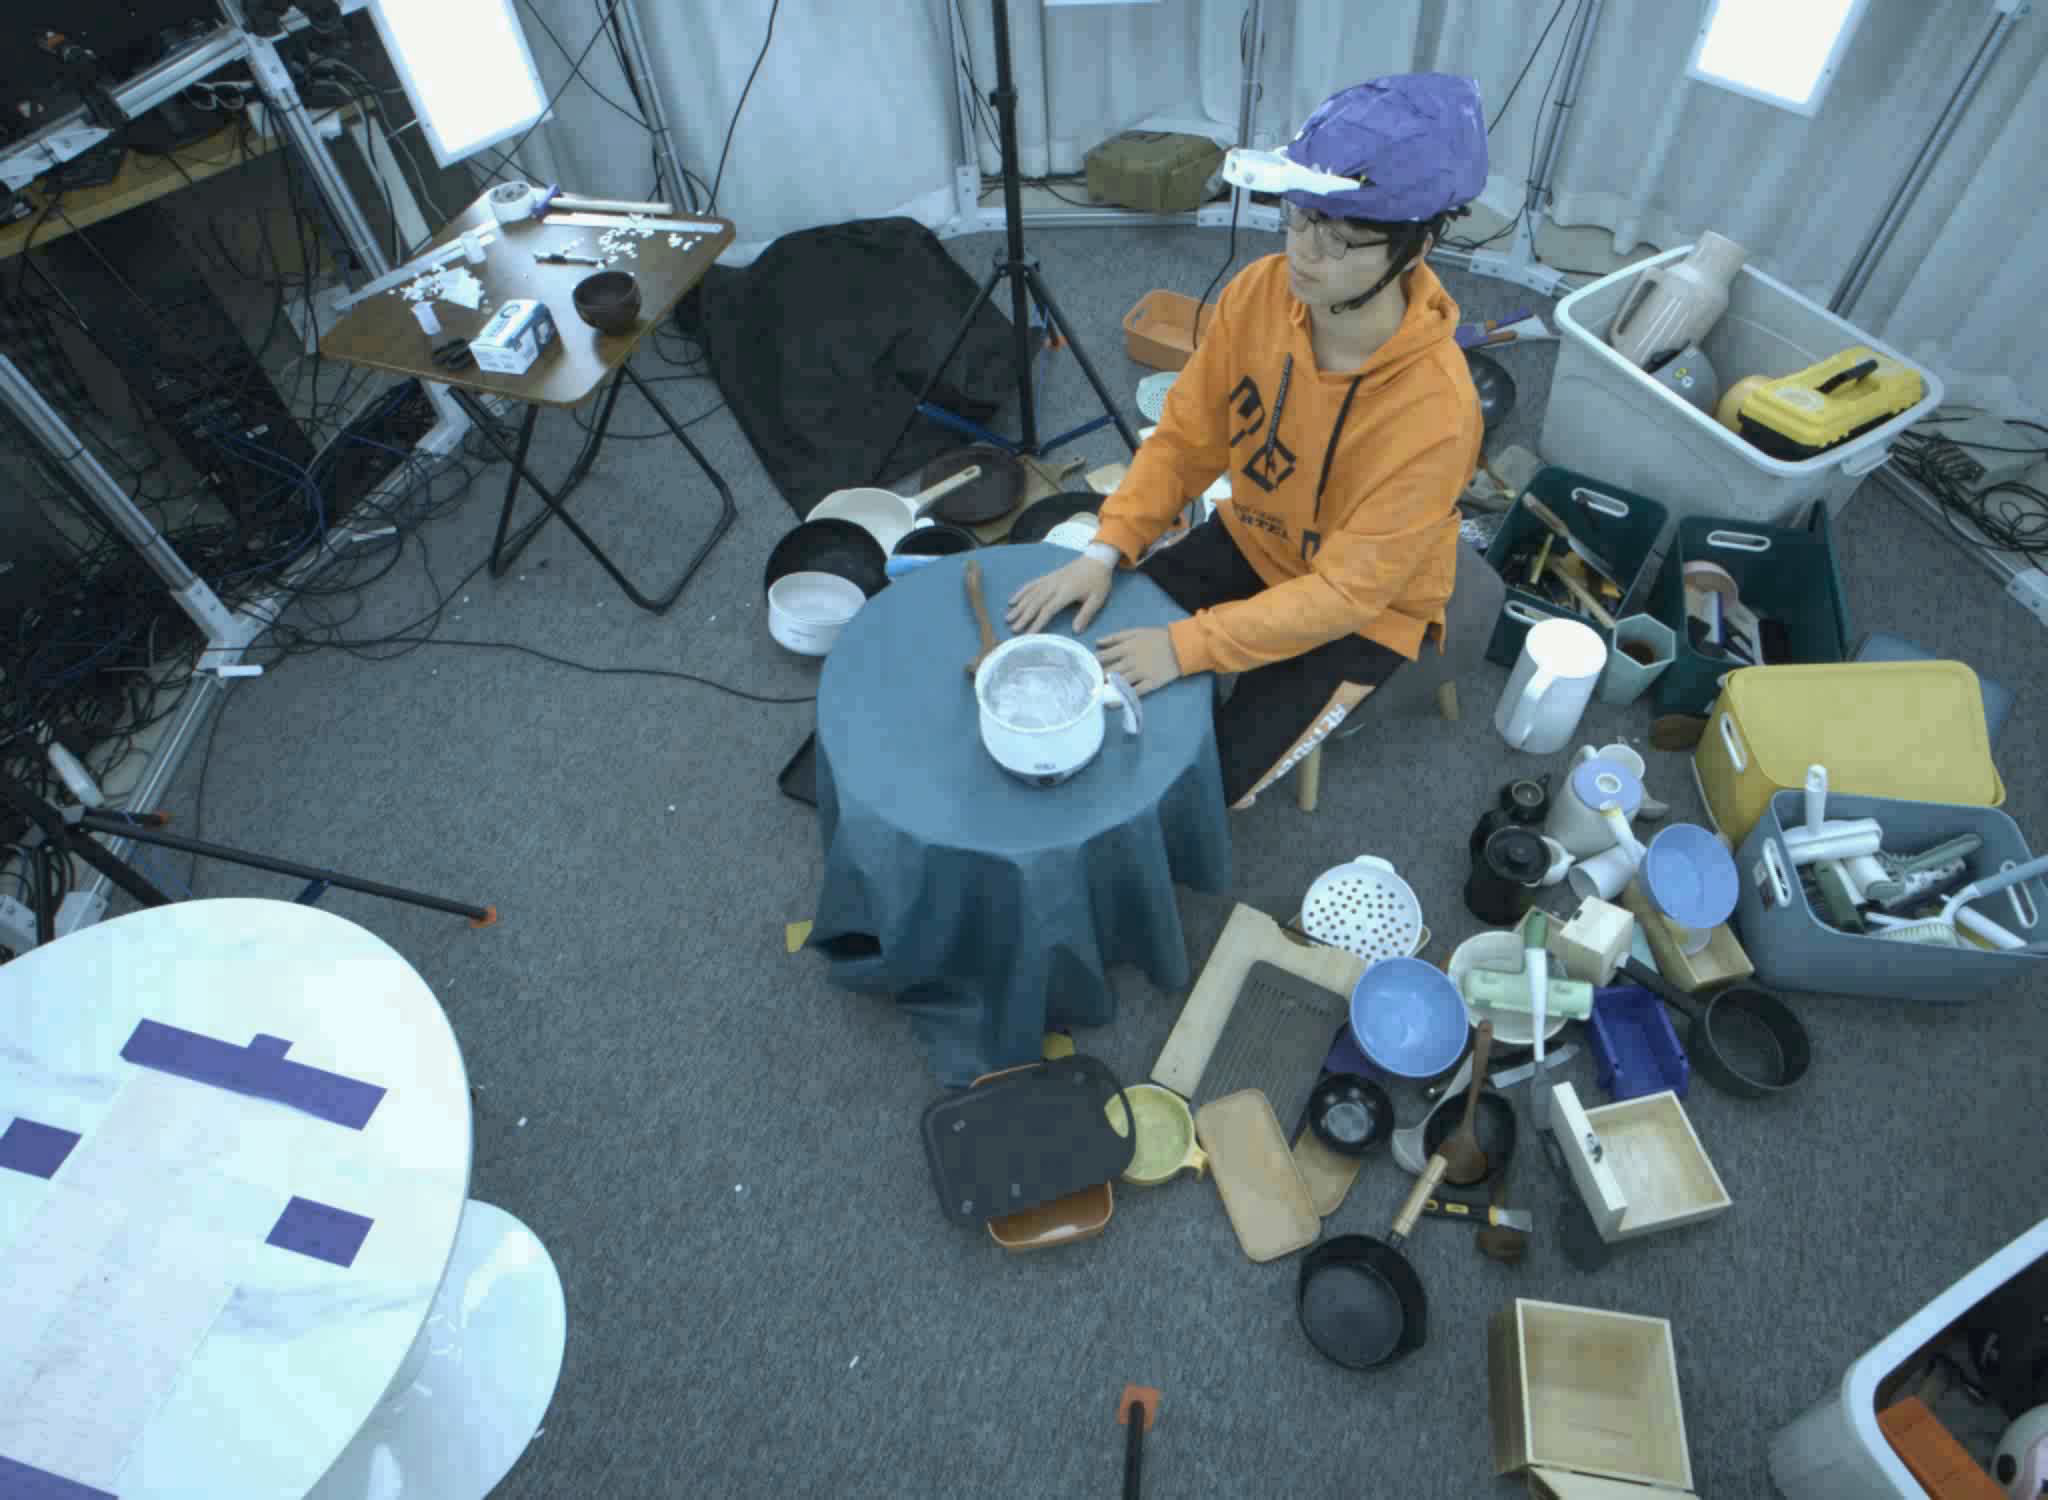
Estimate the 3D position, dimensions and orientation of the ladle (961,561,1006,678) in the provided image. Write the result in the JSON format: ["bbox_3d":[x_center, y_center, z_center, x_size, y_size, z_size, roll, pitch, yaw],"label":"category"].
[{"bbox_3d":[-0.075,-0.214,1.904,0.076,0.066,0.256,-24,54,17],"label":"ladle"}]

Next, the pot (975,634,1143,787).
[{"bbox_3d":[0.052,-0.058,1.742,0.234,0.138,0.176,-5,55,-1],"label":"pot"}]
